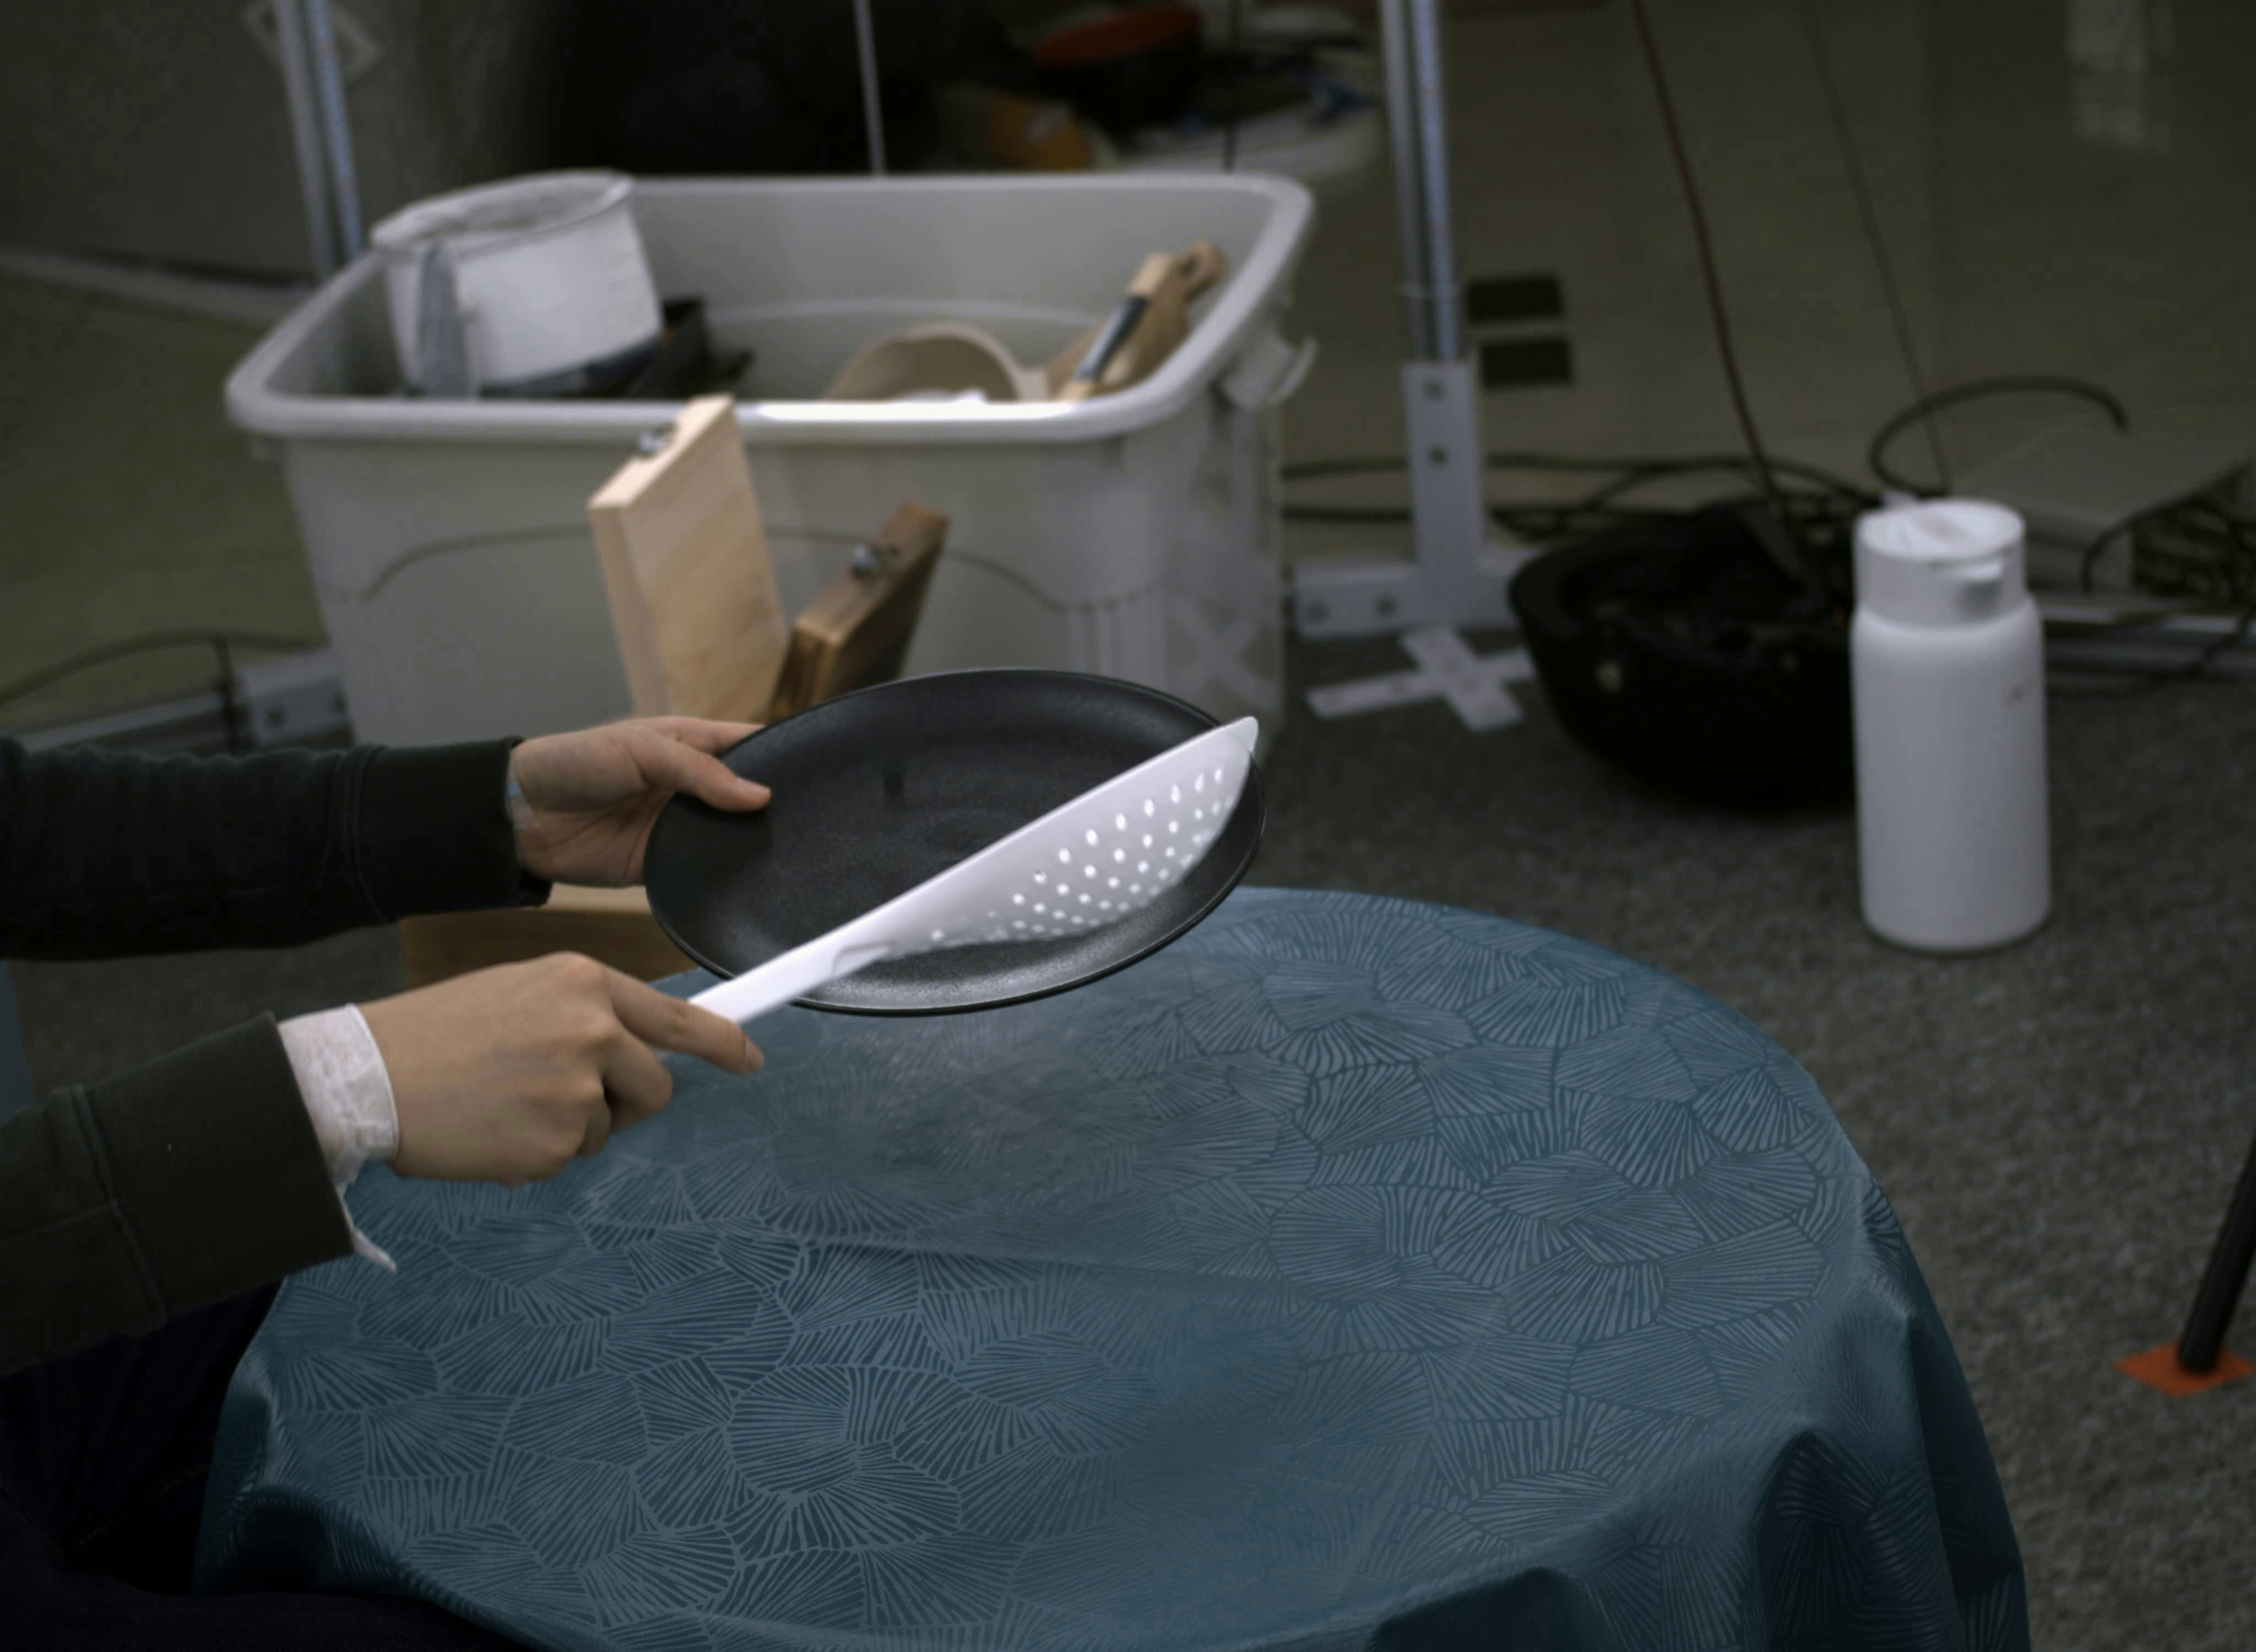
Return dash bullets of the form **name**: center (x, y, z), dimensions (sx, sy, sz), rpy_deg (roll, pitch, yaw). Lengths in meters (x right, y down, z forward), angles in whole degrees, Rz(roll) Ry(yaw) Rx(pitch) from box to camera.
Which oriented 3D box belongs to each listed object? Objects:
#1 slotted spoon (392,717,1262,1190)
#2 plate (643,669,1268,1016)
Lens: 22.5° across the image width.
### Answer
- **slotted spoon**: center (-0.094, 0.043, 1.883), dimensions (0.347, 0.045, 0.137), rpy_deg (-20, -7, -30)
- **plate**: center (-0.066, 0.011, 2.190), dimensions (0.244, 0.024, 0.240), rpy_deg (-5, 33, 3)
